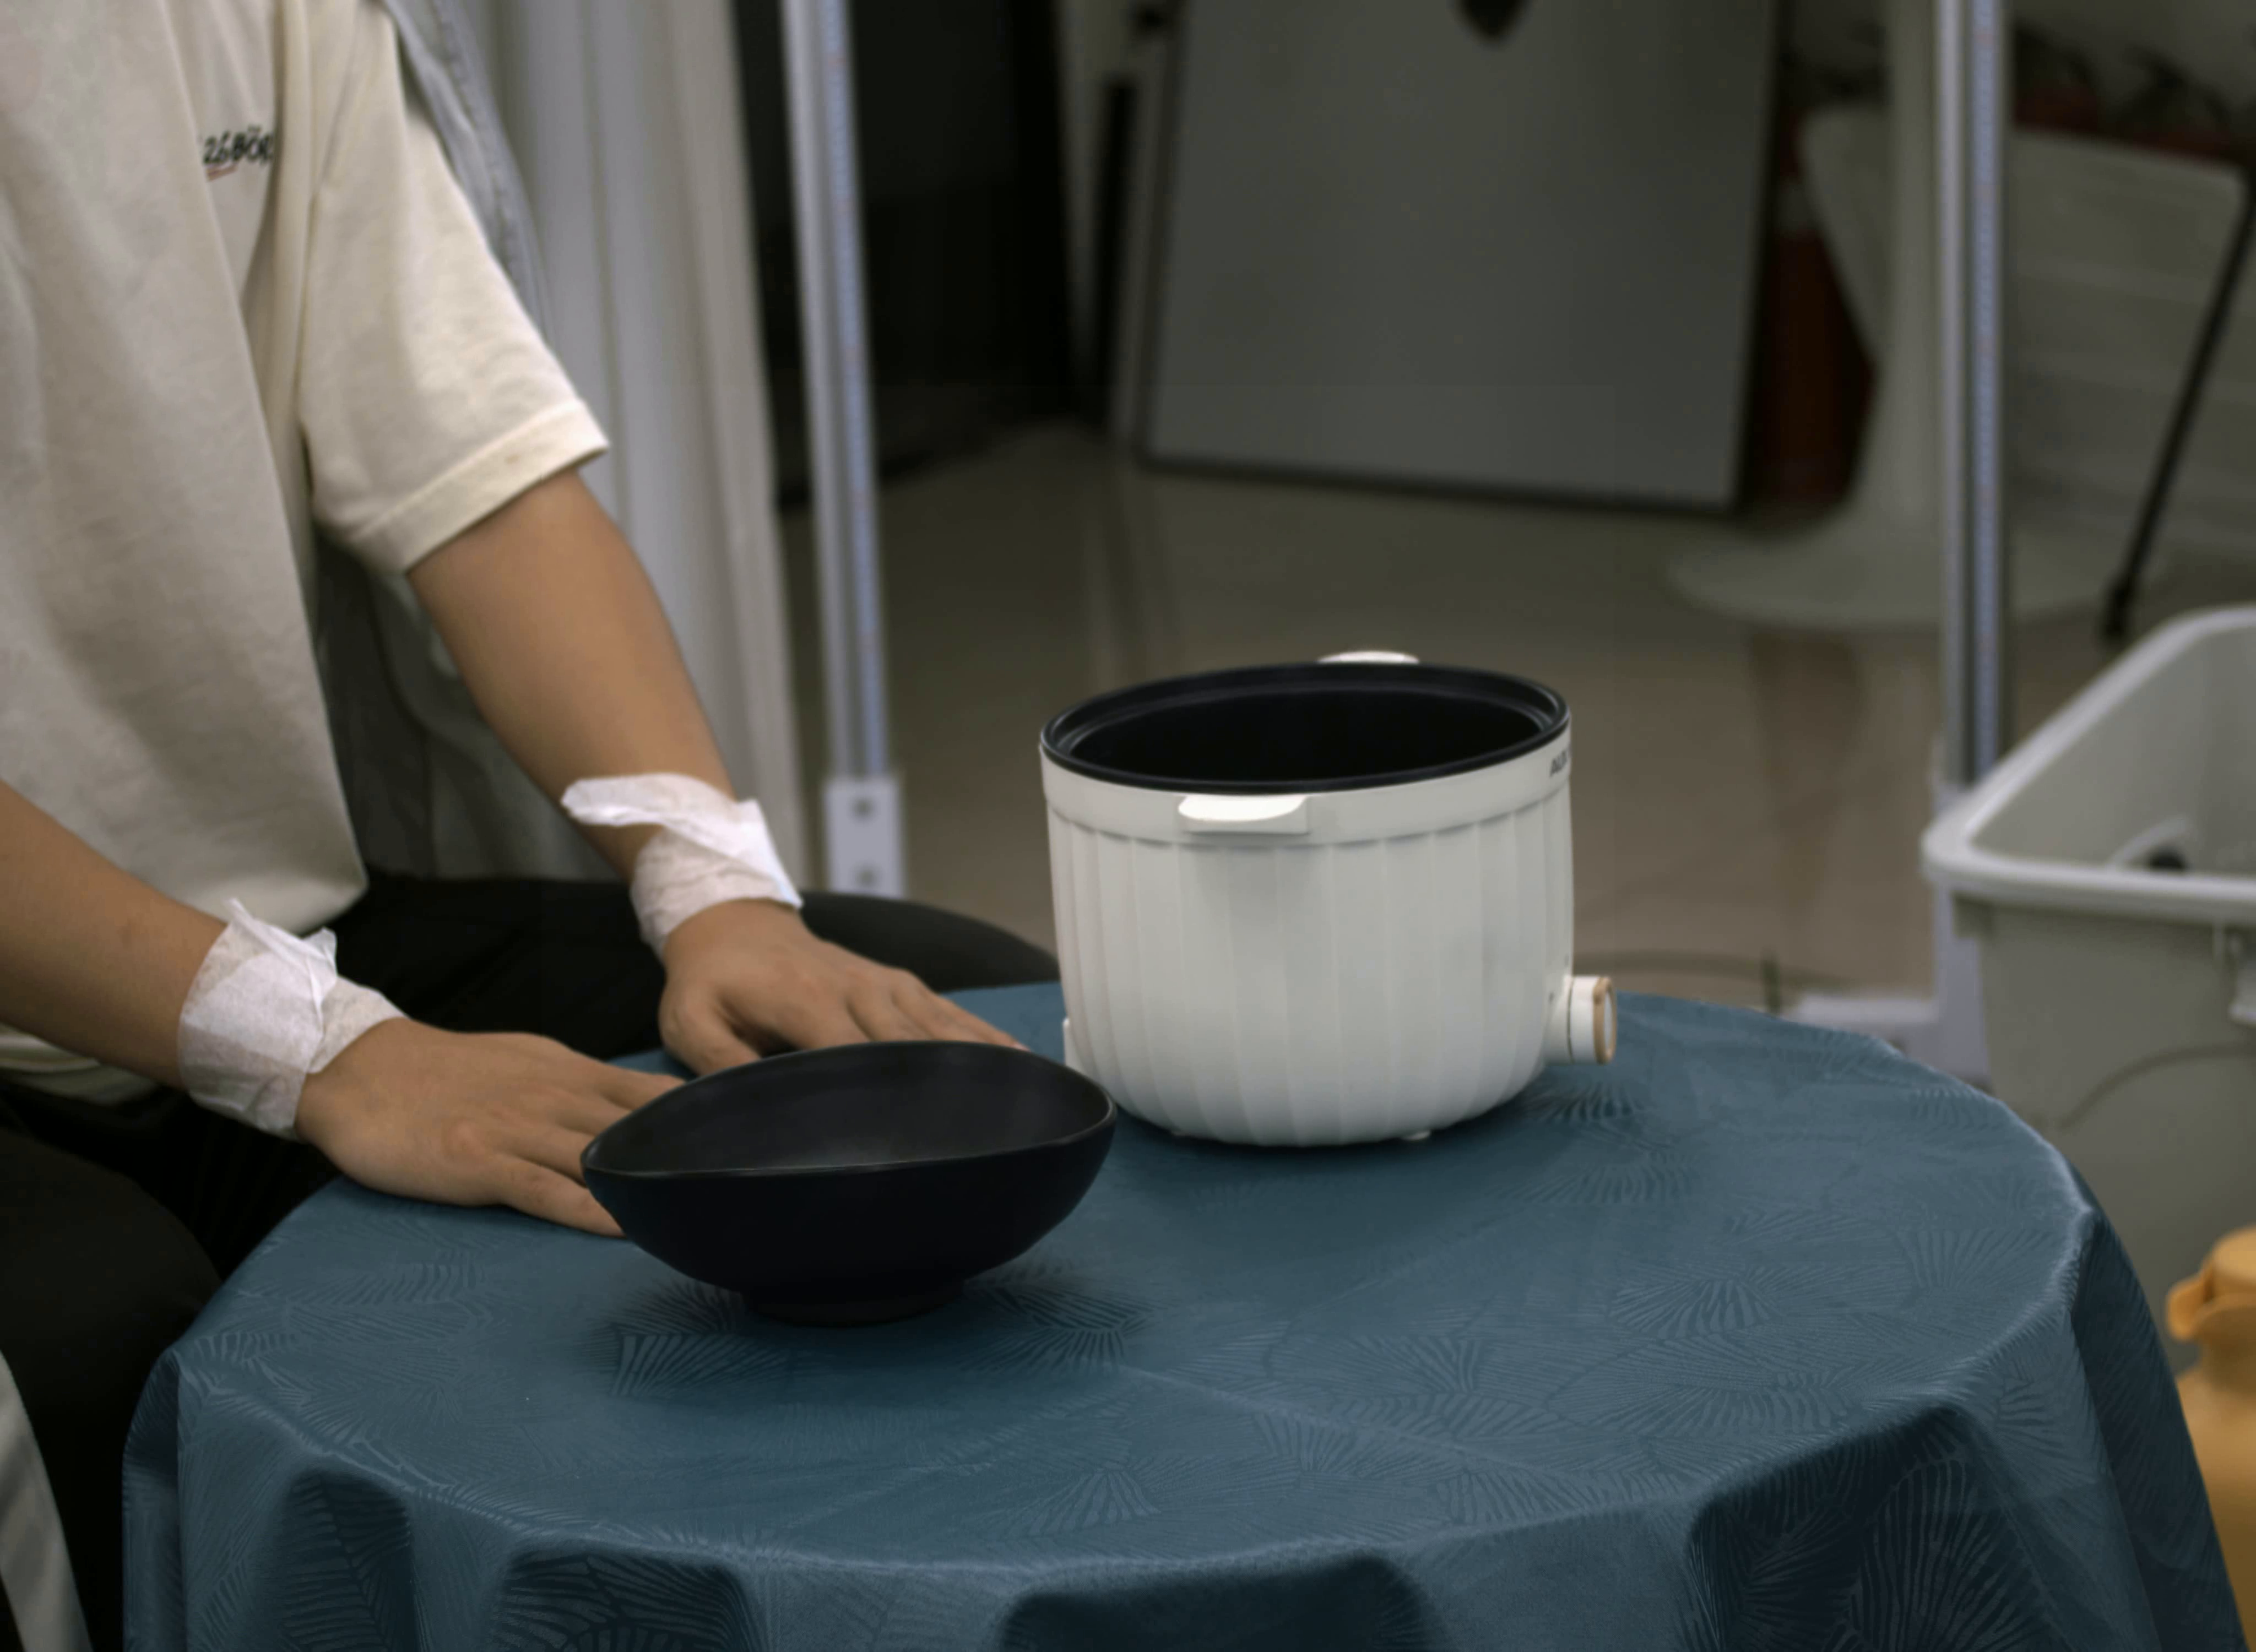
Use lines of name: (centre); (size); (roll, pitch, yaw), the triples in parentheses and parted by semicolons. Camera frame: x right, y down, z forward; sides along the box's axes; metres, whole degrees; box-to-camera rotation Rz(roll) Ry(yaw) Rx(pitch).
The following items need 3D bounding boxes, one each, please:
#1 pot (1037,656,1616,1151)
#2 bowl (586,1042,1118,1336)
pot: (0.069, 0.028, 1.843); (0.190, 0.144, 0.239); (-4, 14, 15)
bowl: (-0.085, 0.118, 1.680); (0.168, 0.067, 0.137); (-4, 12, 5)
